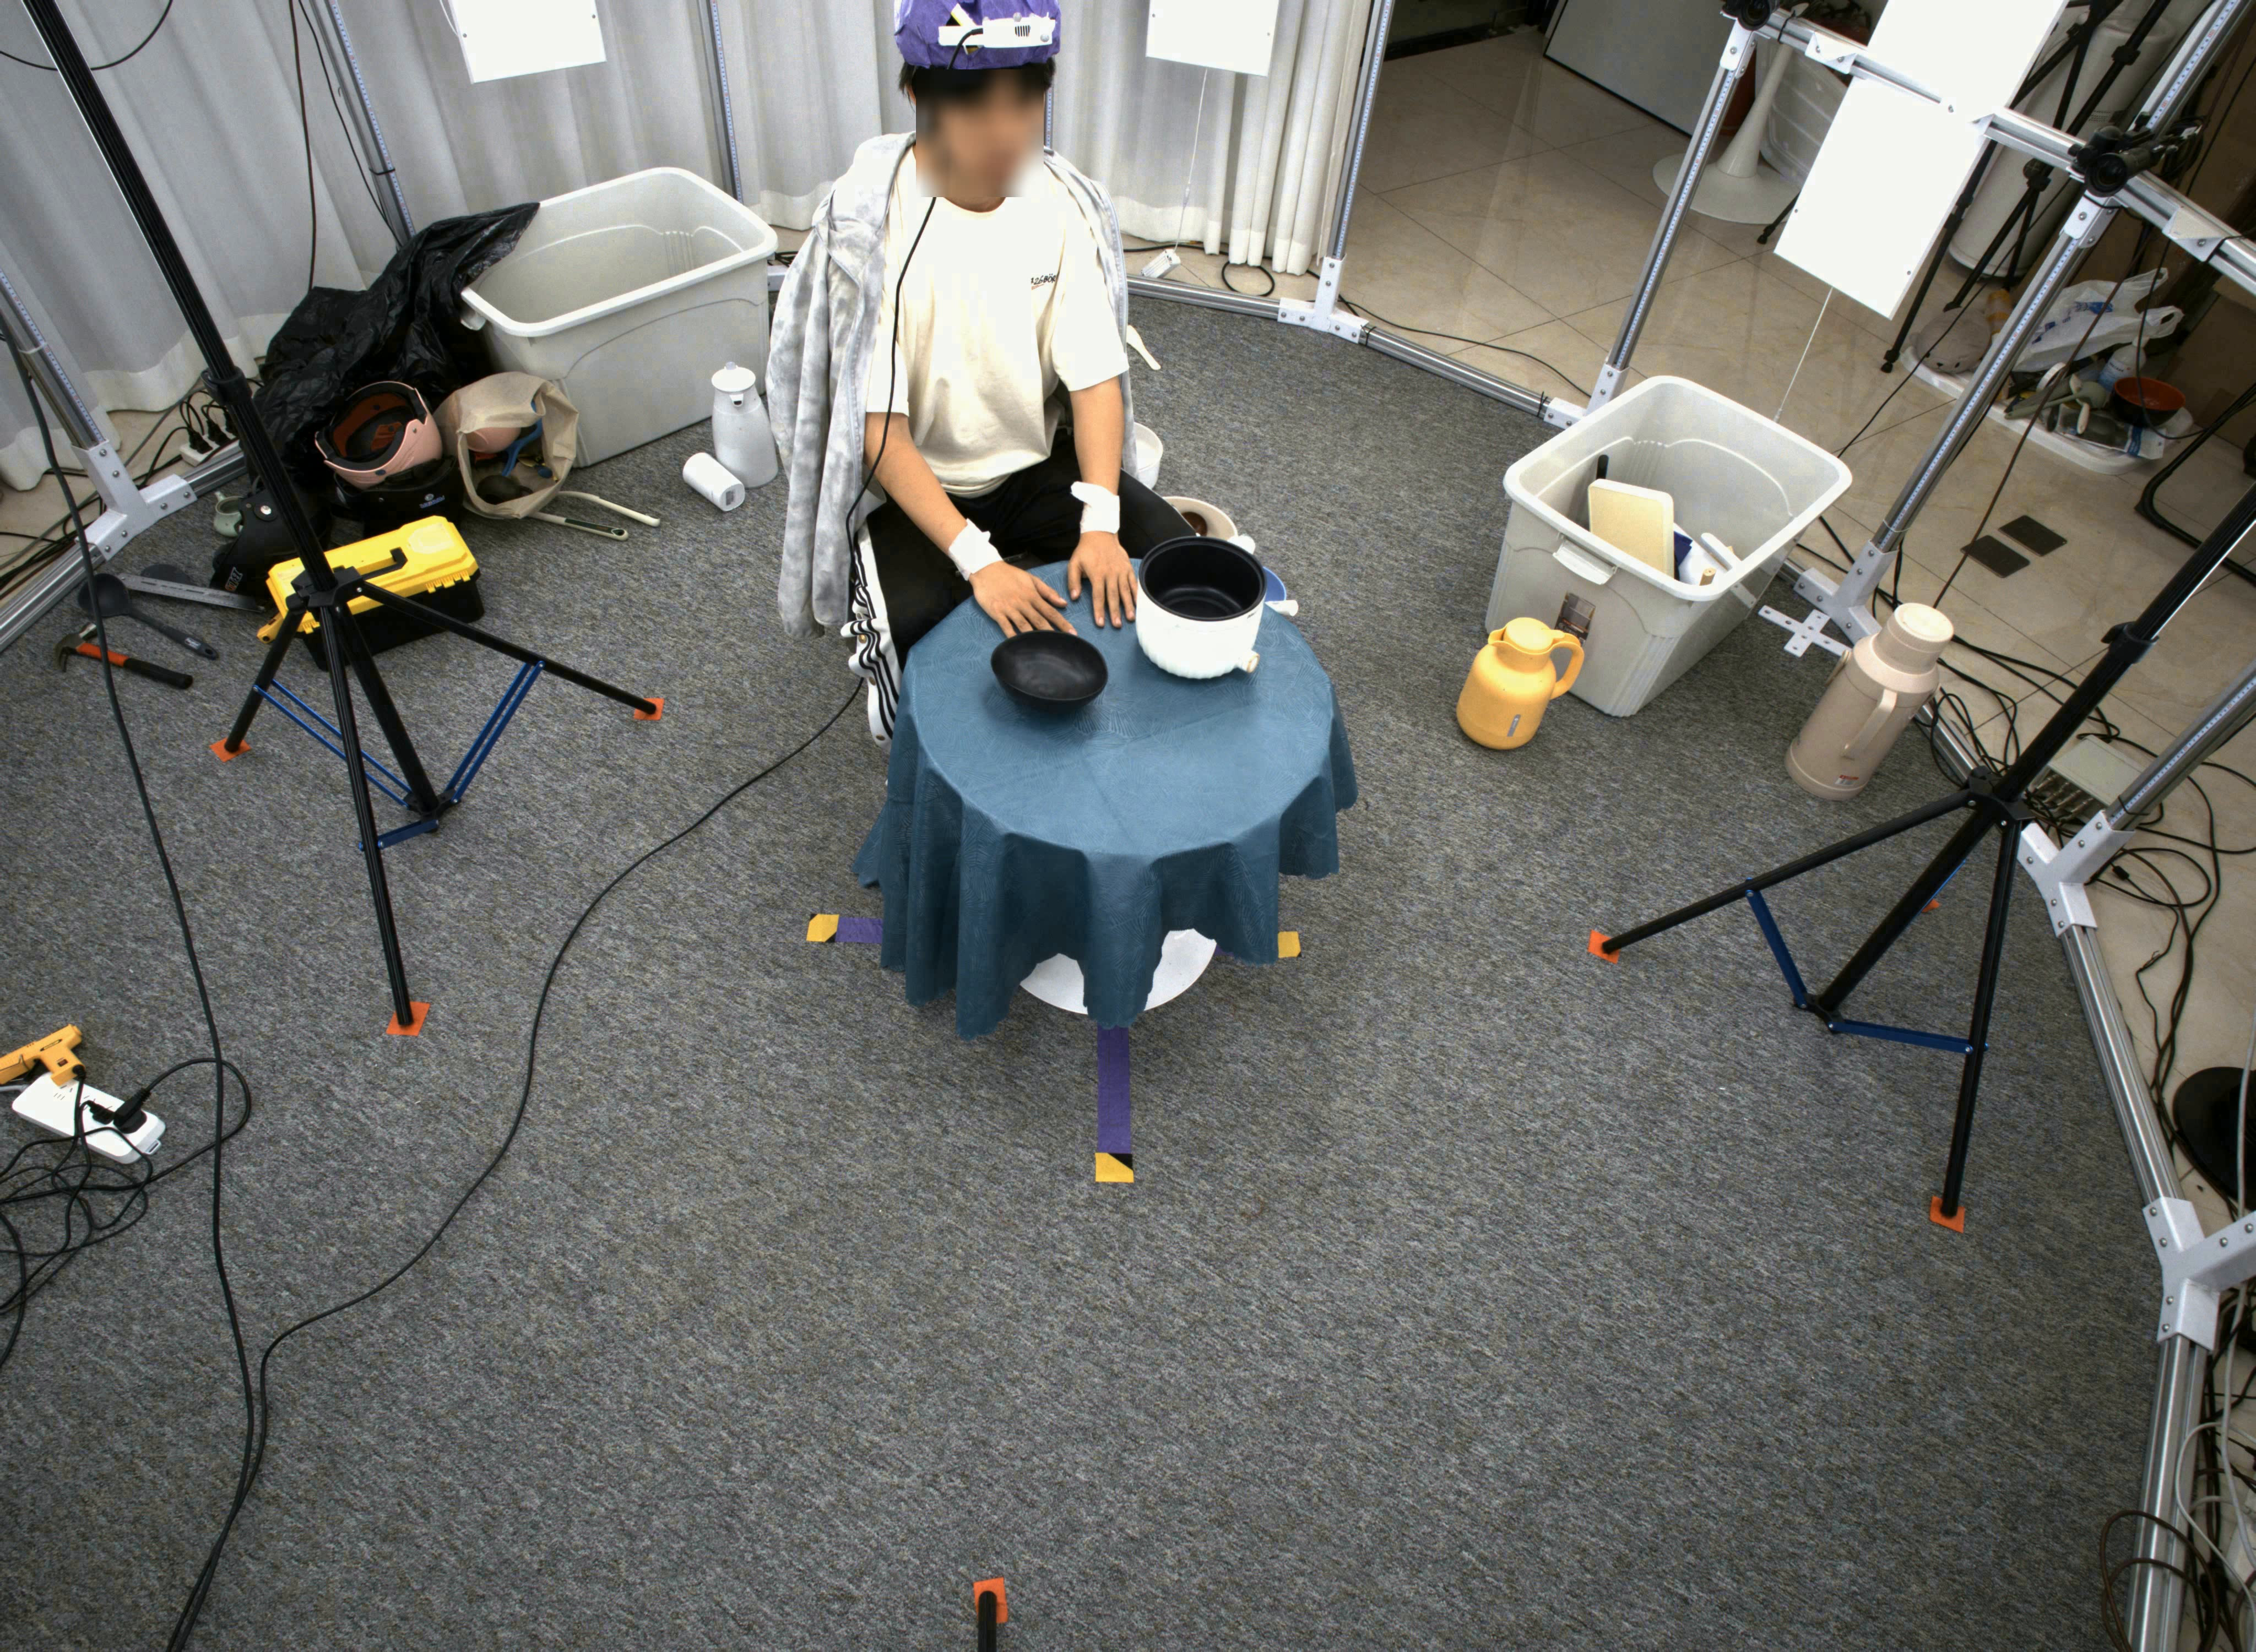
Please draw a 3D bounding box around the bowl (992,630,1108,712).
[{"bbox_3d":[-0.111,-0.205,1.790,0.171,0.065,0.140,21,49,15],"label":"bowl"}]

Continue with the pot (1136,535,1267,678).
[{"bbox_3d":[0.106,-0.306,1.846,0.192,0.139,0.243,27,53,23],"label":"pot"}]
